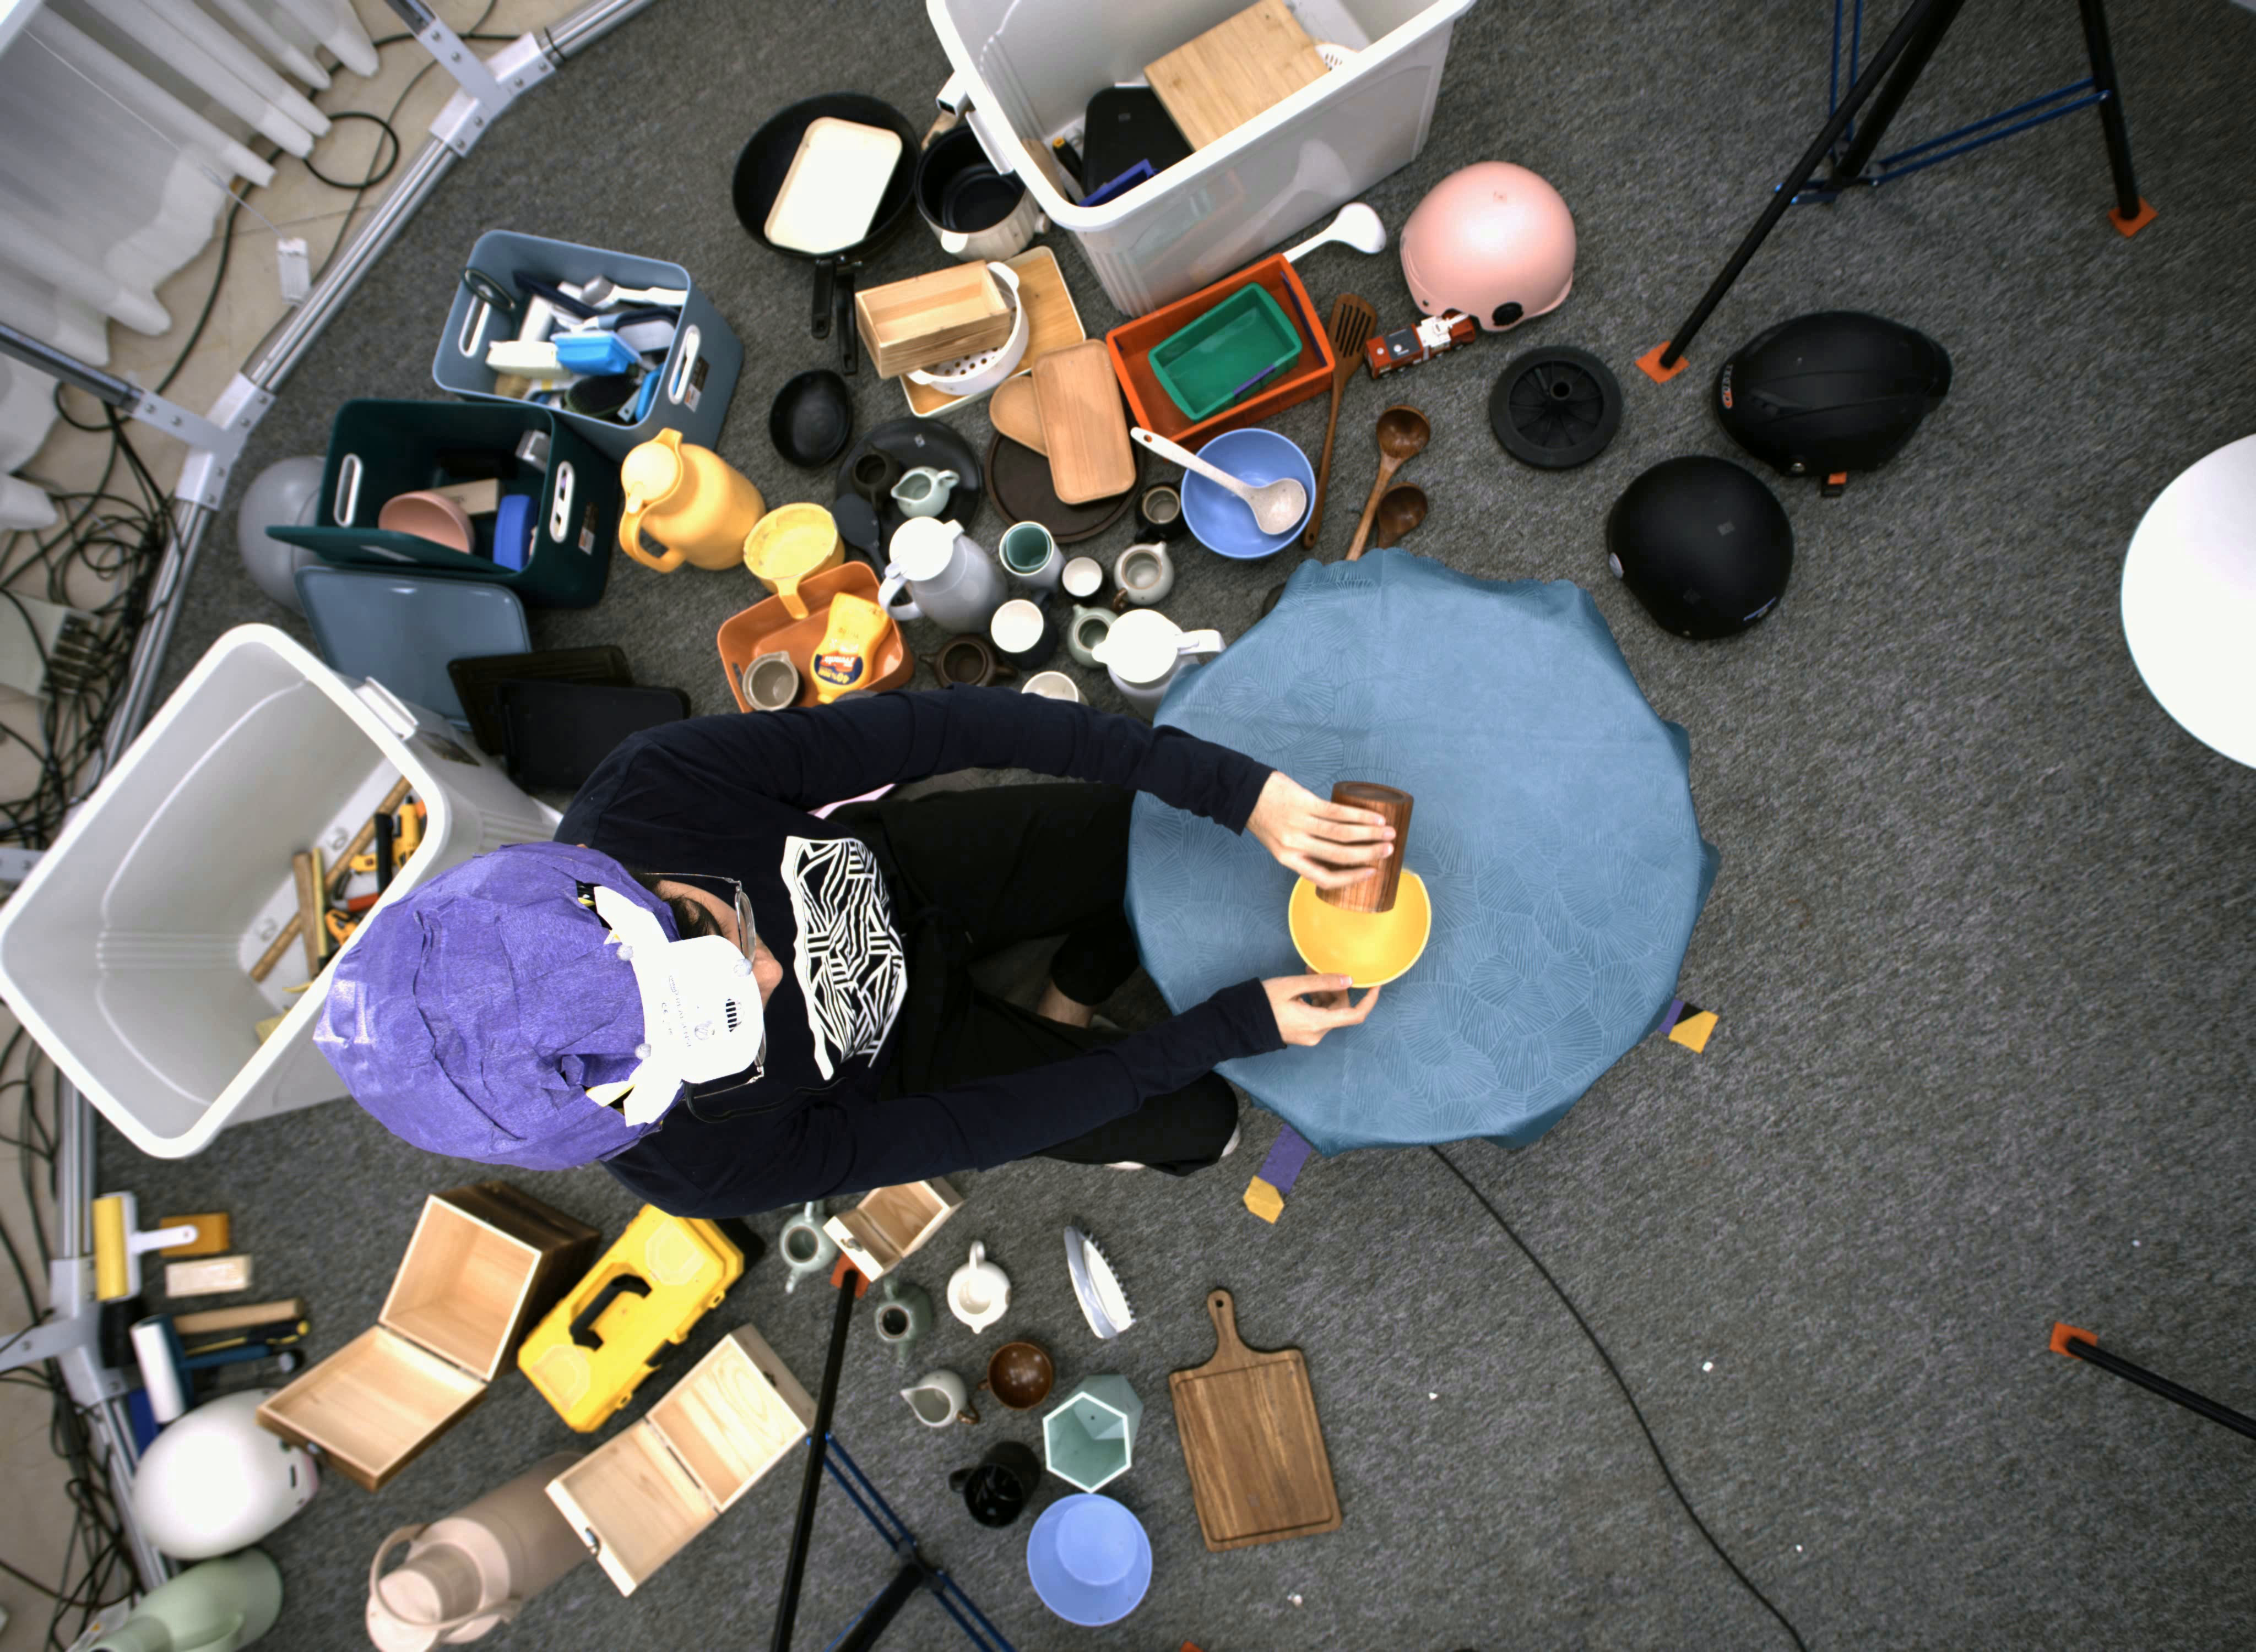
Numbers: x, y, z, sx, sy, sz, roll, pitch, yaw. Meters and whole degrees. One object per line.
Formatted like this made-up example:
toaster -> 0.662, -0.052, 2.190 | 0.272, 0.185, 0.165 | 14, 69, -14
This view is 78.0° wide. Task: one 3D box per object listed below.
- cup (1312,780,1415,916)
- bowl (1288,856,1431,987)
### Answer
cup -> 0.231, 0.019, 1.354 | 0.088, 0.086, 0.120 | 12, 104, 11
bowl -> 0.240, 0.094, 1.434 | 0.146, 0.060, 0.144 | -1, 85, 12
